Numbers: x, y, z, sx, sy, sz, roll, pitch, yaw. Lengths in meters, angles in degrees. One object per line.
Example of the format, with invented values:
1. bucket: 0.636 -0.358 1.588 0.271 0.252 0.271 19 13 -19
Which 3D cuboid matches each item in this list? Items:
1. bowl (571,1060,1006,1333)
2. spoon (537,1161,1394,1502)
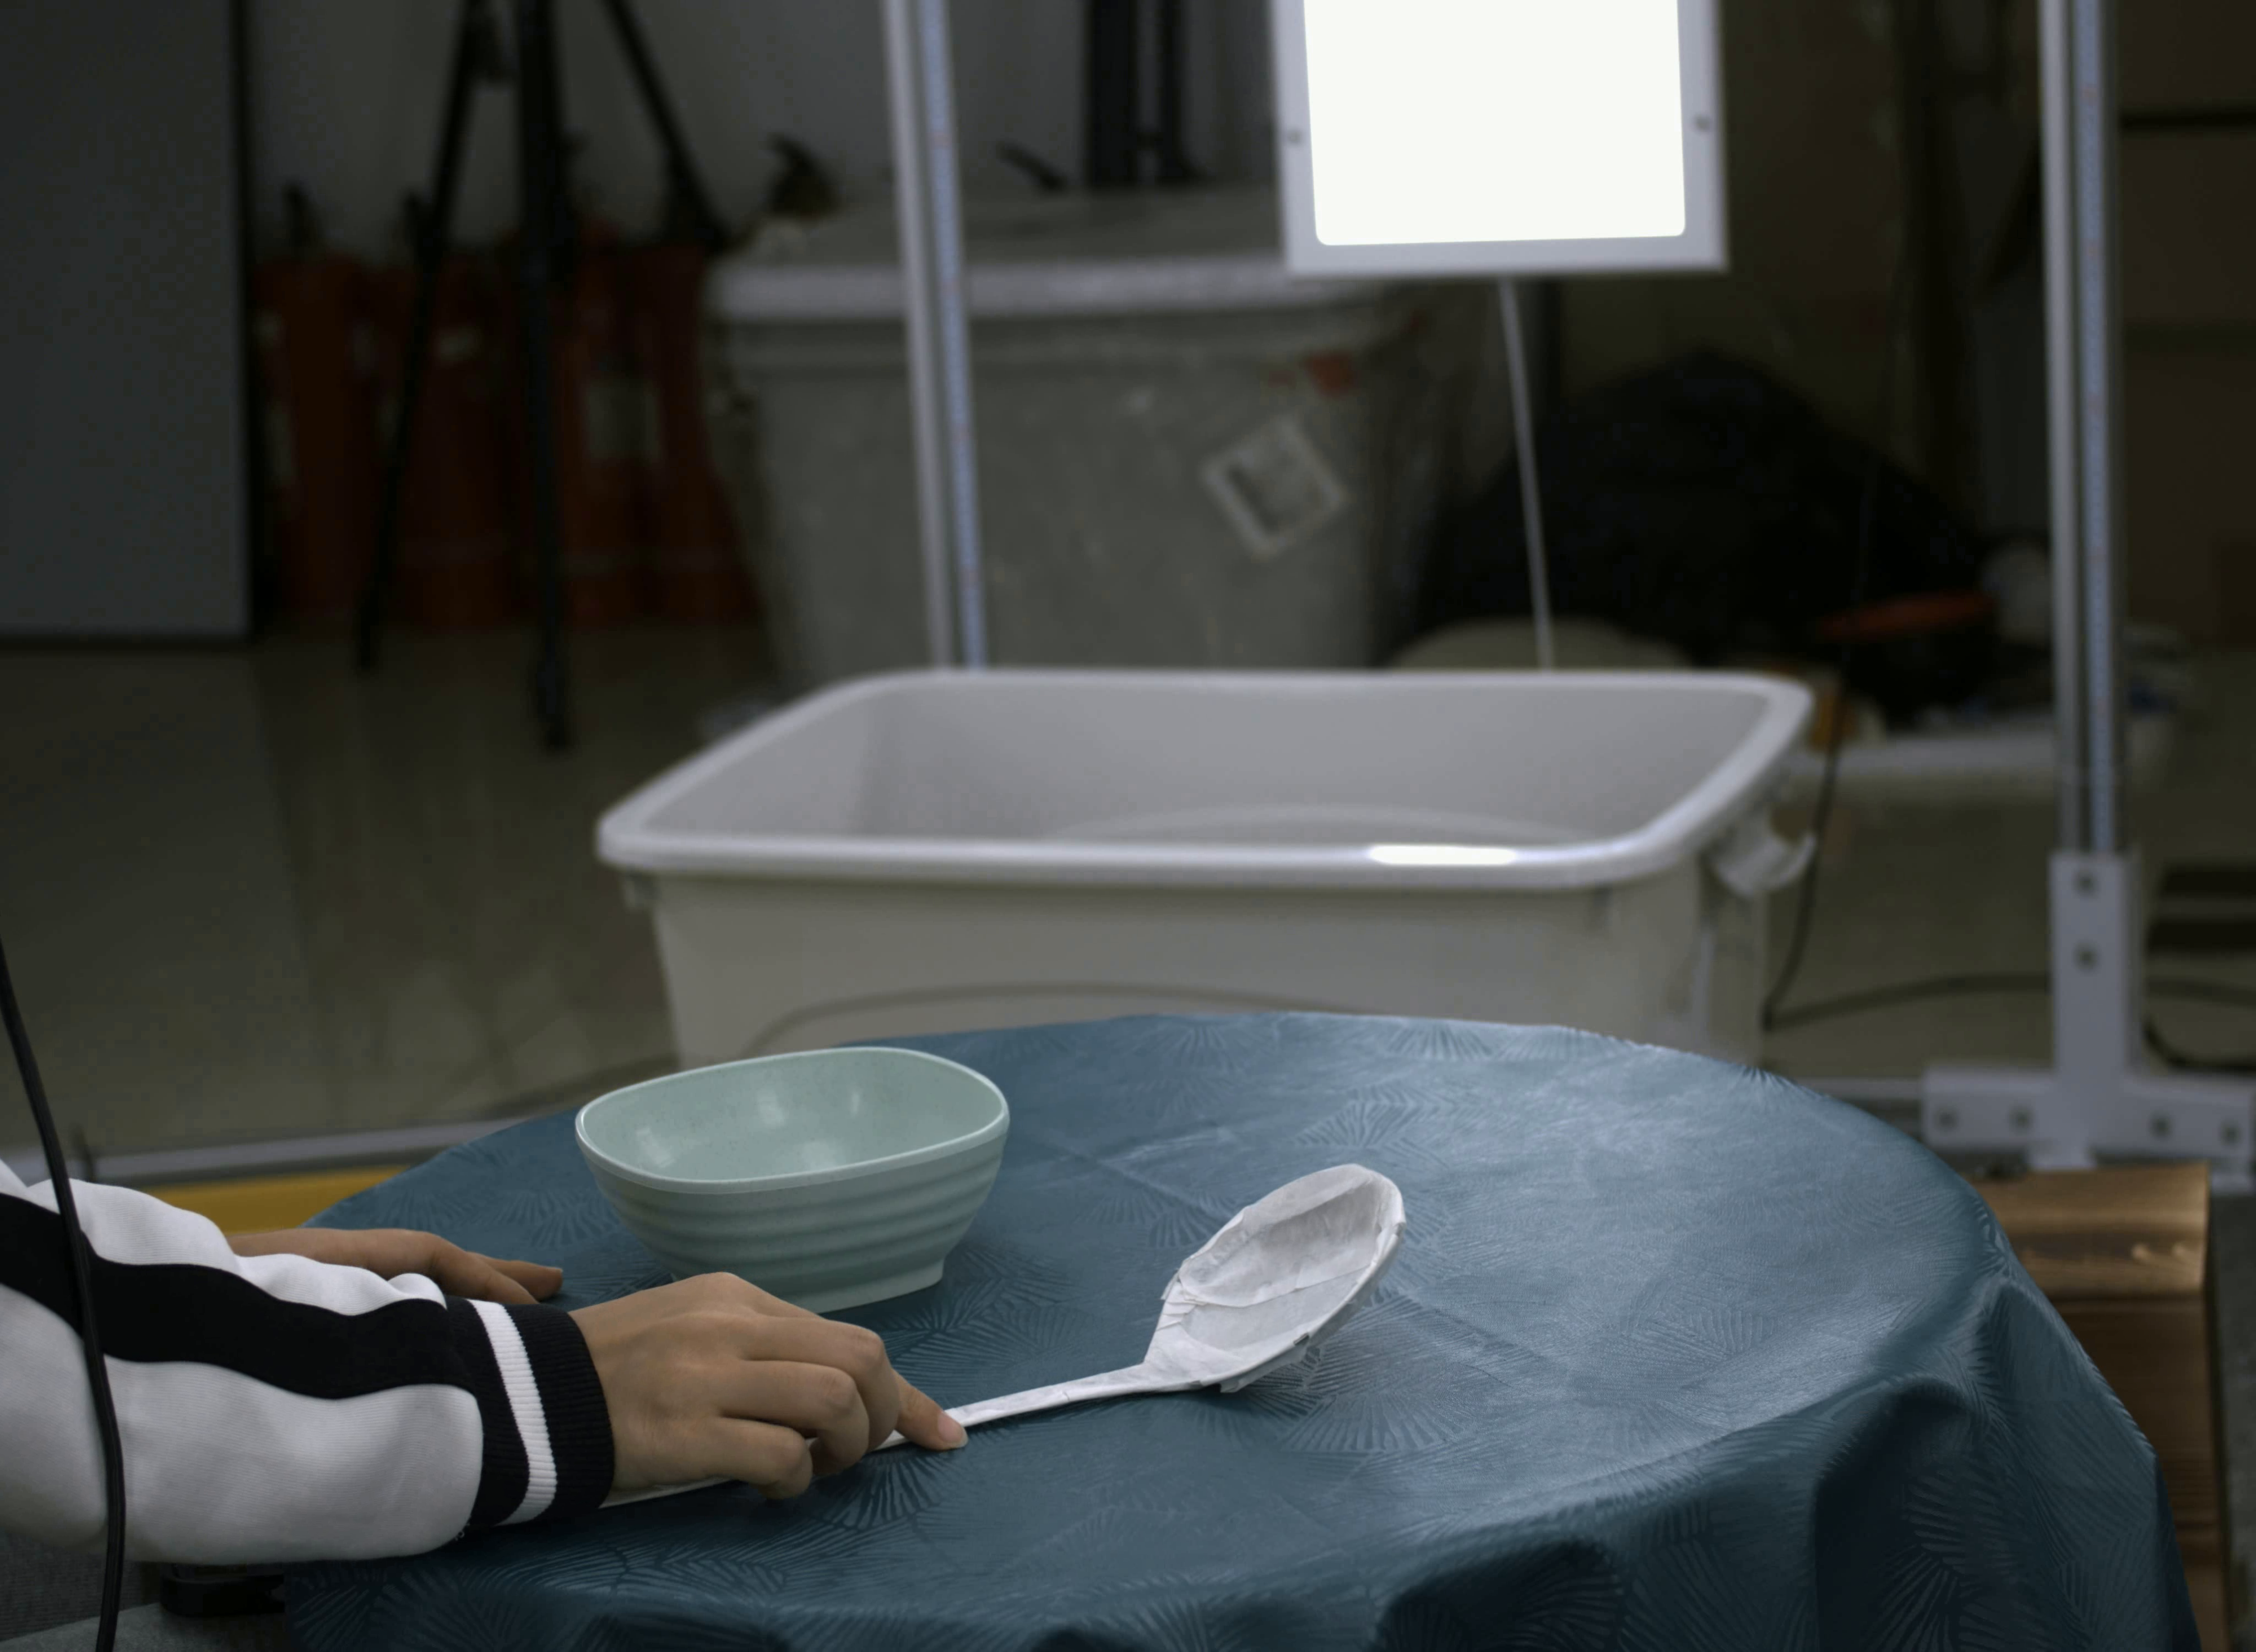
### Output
1. bowl: -0.111 0.126 1.834 0.151 0.059 0.151 -5 13 0
2. spoon: -0.049 0.153 1.688 0.273 0.059 0.102 -9 9 -14
